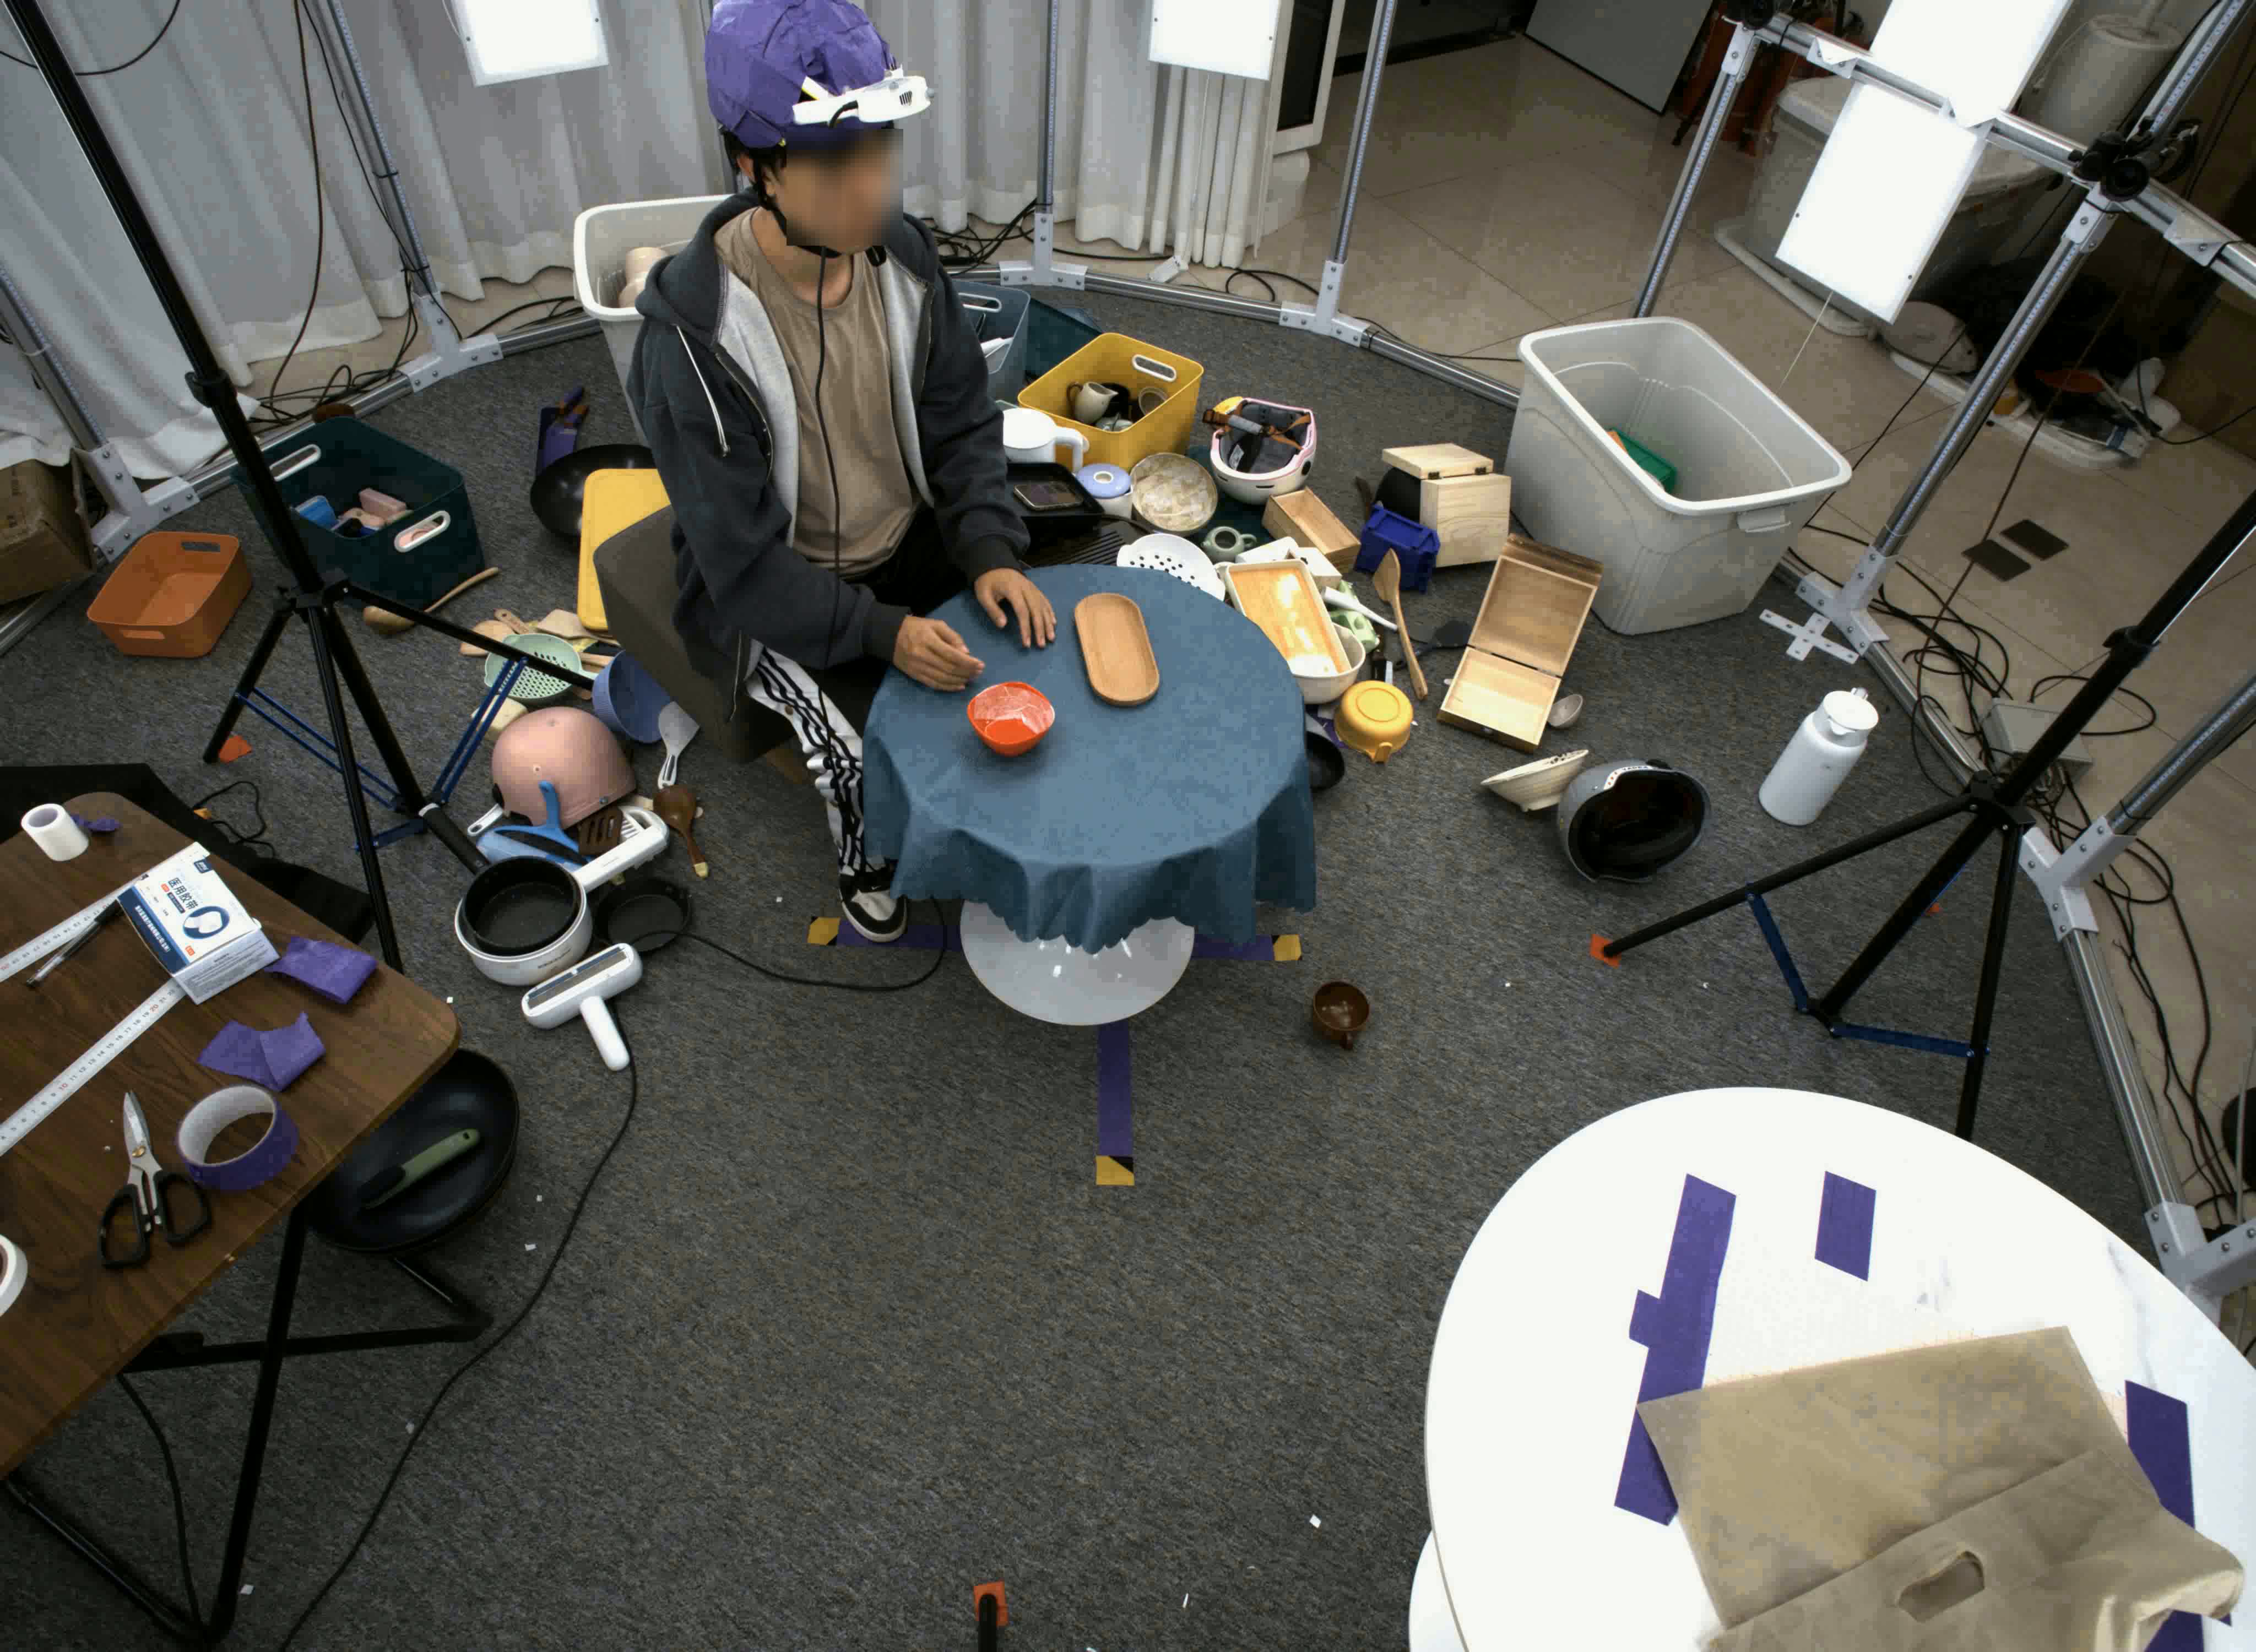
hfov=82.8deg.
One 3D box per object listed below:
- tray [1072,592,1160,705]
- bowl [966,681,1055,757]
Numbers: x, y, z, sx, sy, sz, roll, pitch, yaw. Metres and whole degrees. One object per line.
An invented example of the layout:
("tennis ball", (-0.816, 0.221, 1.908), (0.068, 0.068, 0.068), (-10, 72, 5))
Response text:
("tray", (-0.019, -0.263, 1.883), (0.101, 0.020, 0.237), (-7, 49, -11))
("bowl", (-0.159, -0.139, 1.741), (0.119, 0.050, 0.122), (2, 50, -2))
